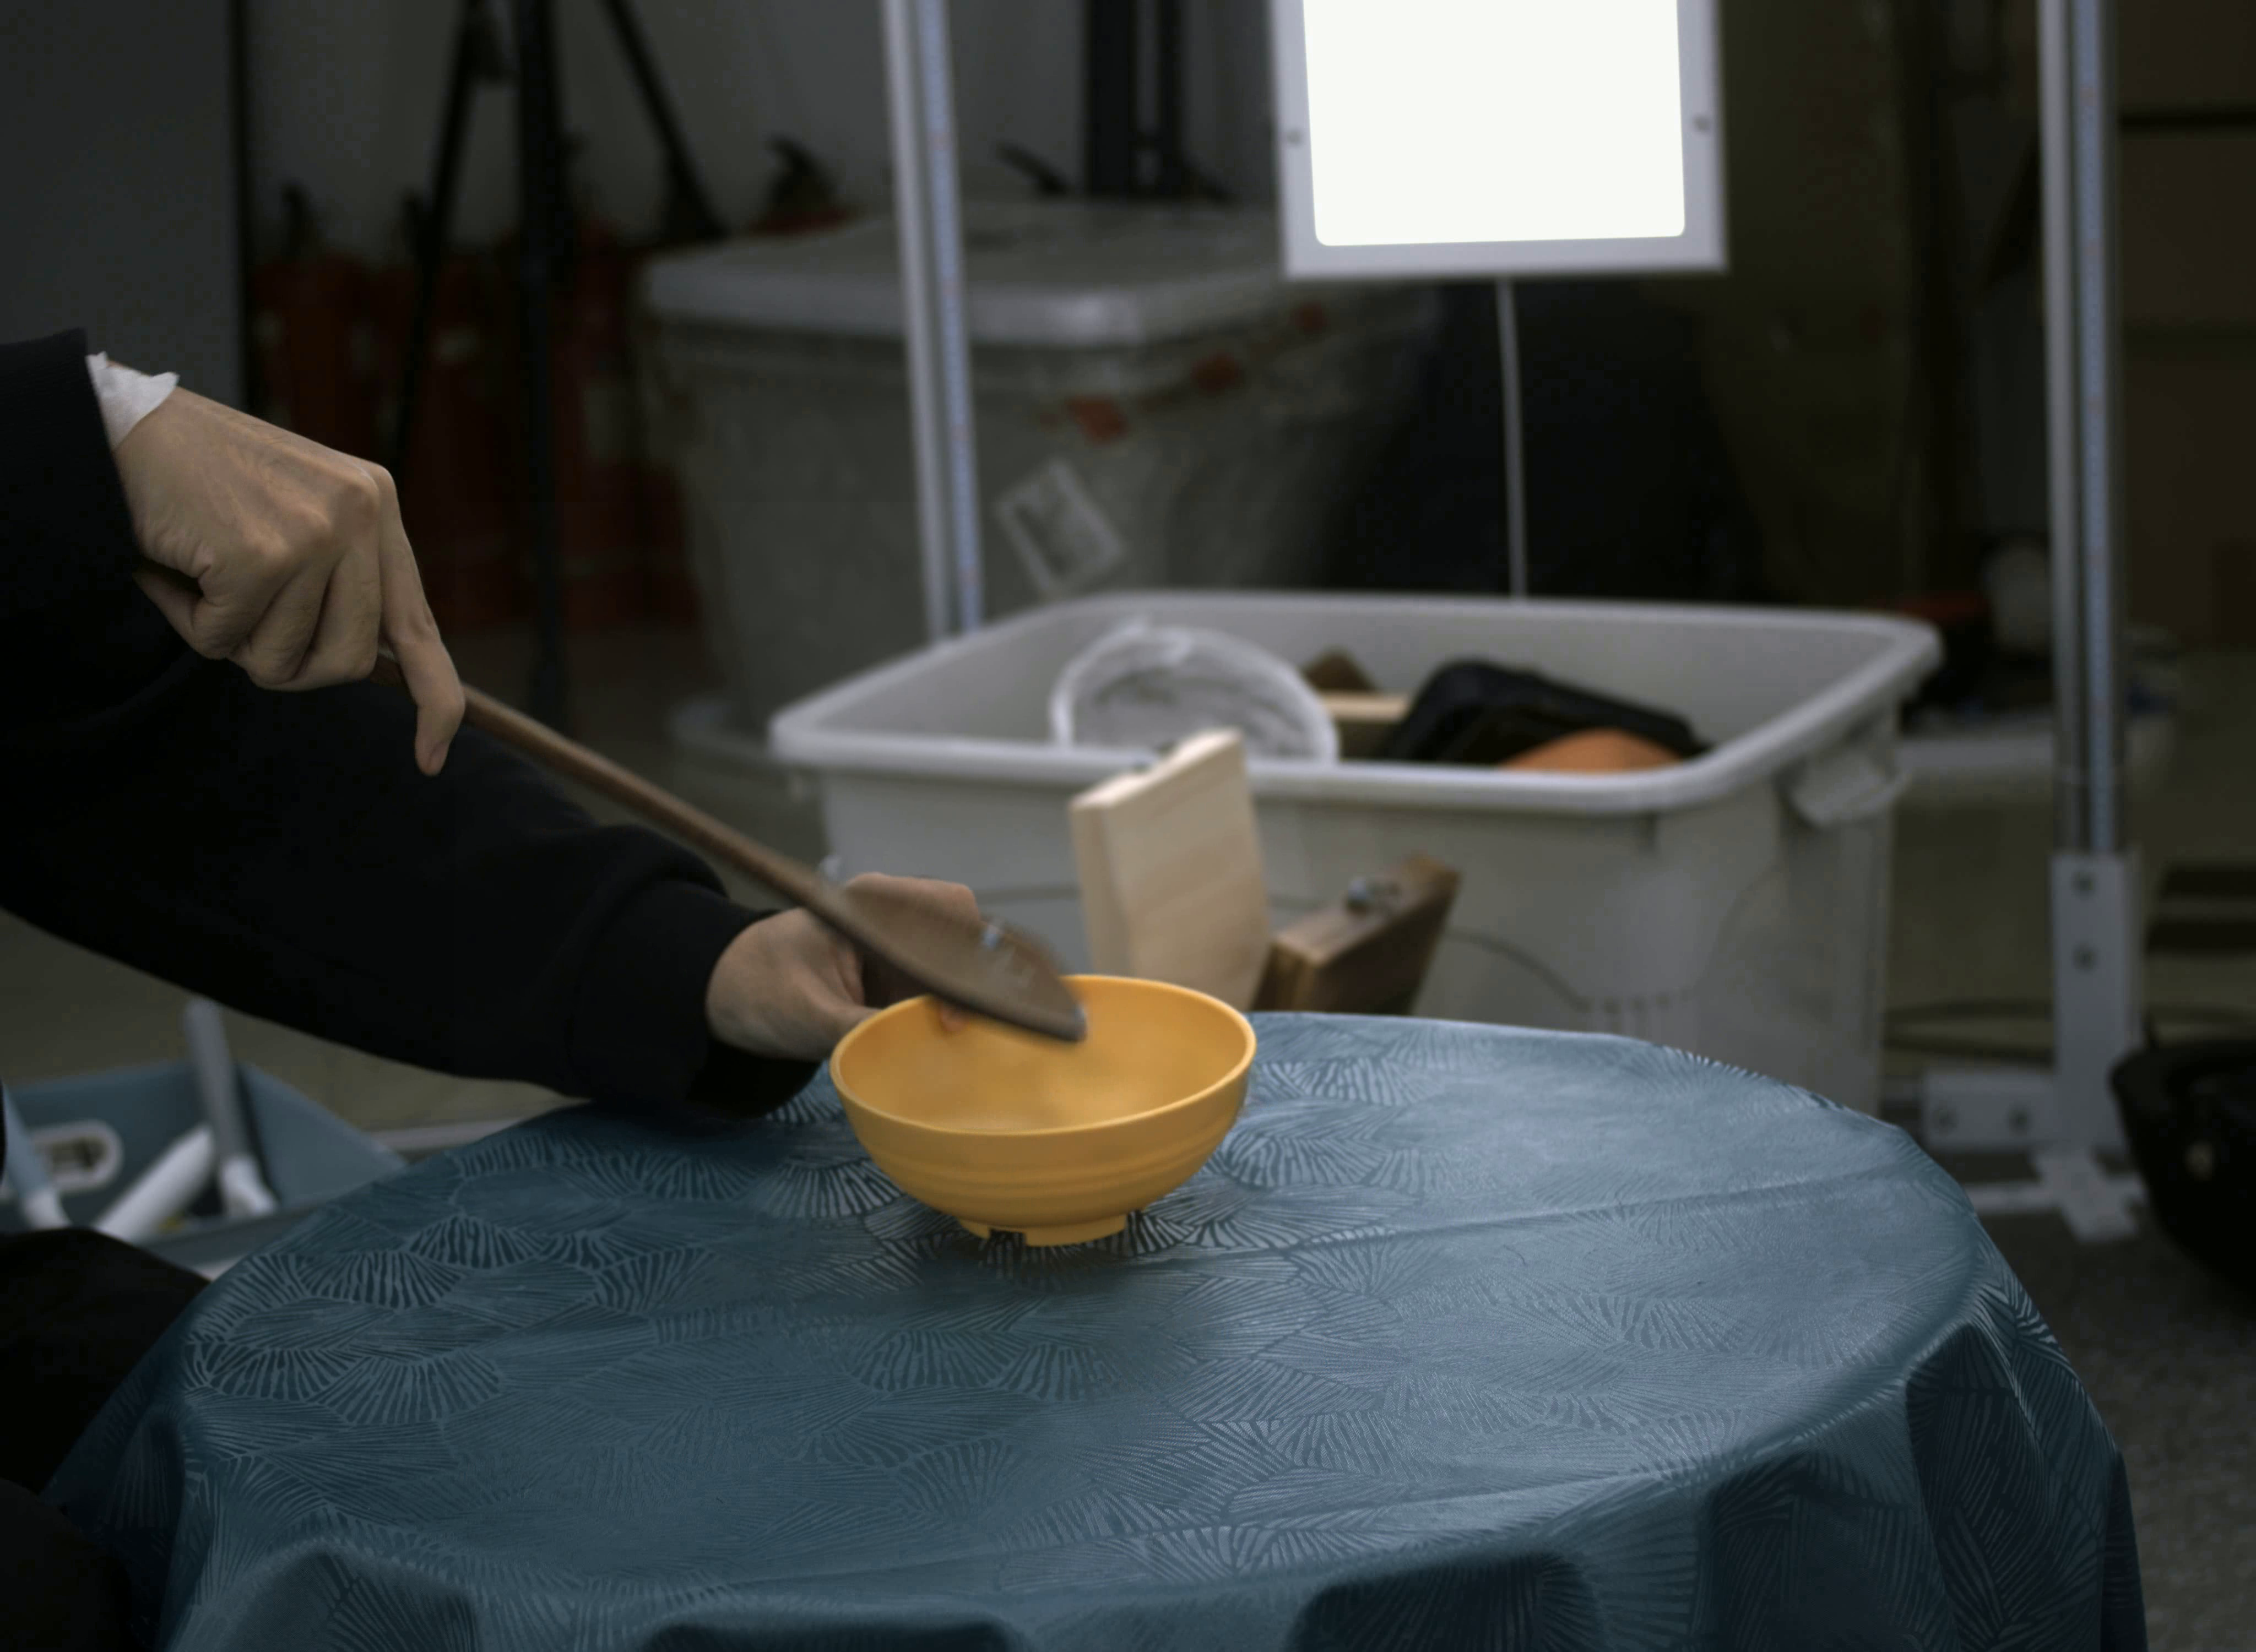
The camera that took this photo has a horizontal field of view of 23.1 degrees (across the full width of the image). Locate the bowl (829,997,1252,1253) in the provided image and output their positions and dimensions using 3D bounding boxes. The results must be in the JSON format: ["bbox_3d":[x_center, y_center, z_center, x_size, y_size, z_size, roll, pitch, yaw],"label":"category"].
[{"bbox_3d":[-0.029,0.106,1.863,0.145,0.060,0.145,-4,16,0],"label":"bowl"}]

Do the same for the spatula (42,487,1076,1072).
[{"bbox_3d":[-0.179,-0.016,1.786,0.381,0.016,0.096,30,10,-17],"label":"spatula"}]
